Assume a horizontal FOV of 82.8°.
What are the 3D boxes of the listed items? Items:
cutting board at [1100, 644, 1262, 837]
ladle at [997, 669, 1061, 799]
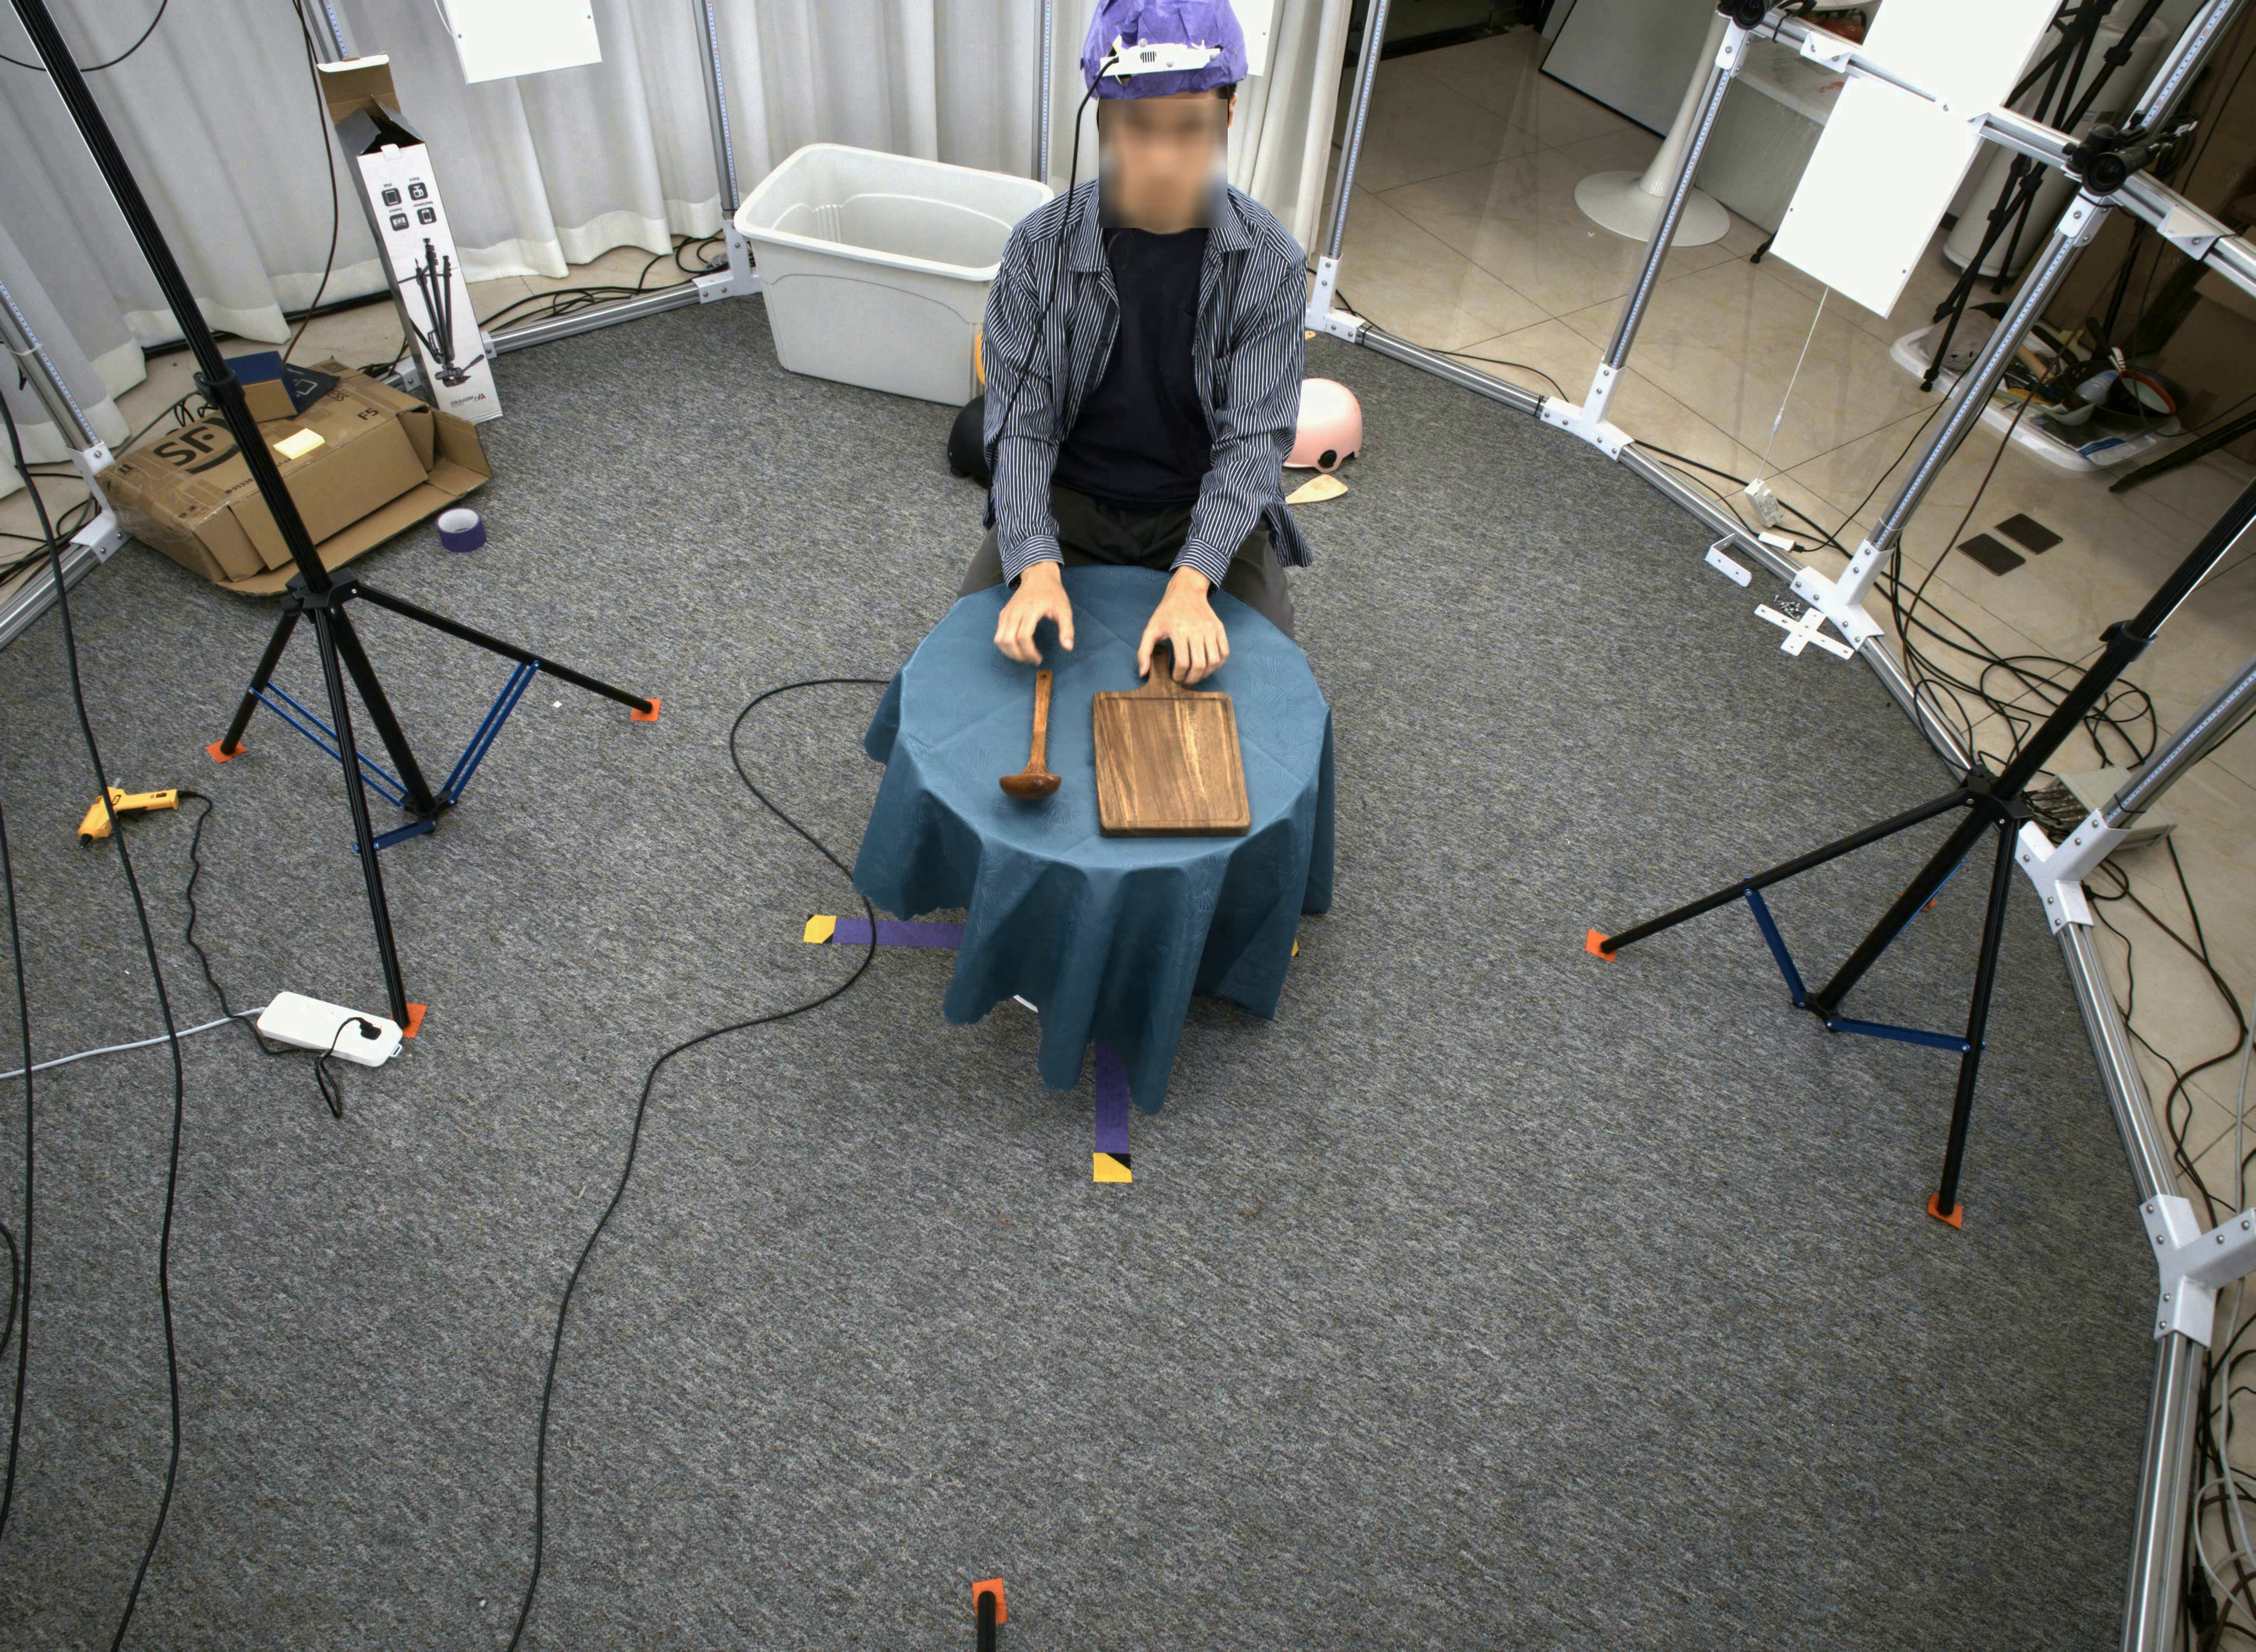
[{"bbox_3d":[0.064,-0.125,1.759,0.201,0.022,0.361,0,48,-5],"label":"cutting board"},{"bbox_3d":[-0.122,-0.139,1.718,0.082,0.075,0.281,2,49,2],"label":"ladle"}]
